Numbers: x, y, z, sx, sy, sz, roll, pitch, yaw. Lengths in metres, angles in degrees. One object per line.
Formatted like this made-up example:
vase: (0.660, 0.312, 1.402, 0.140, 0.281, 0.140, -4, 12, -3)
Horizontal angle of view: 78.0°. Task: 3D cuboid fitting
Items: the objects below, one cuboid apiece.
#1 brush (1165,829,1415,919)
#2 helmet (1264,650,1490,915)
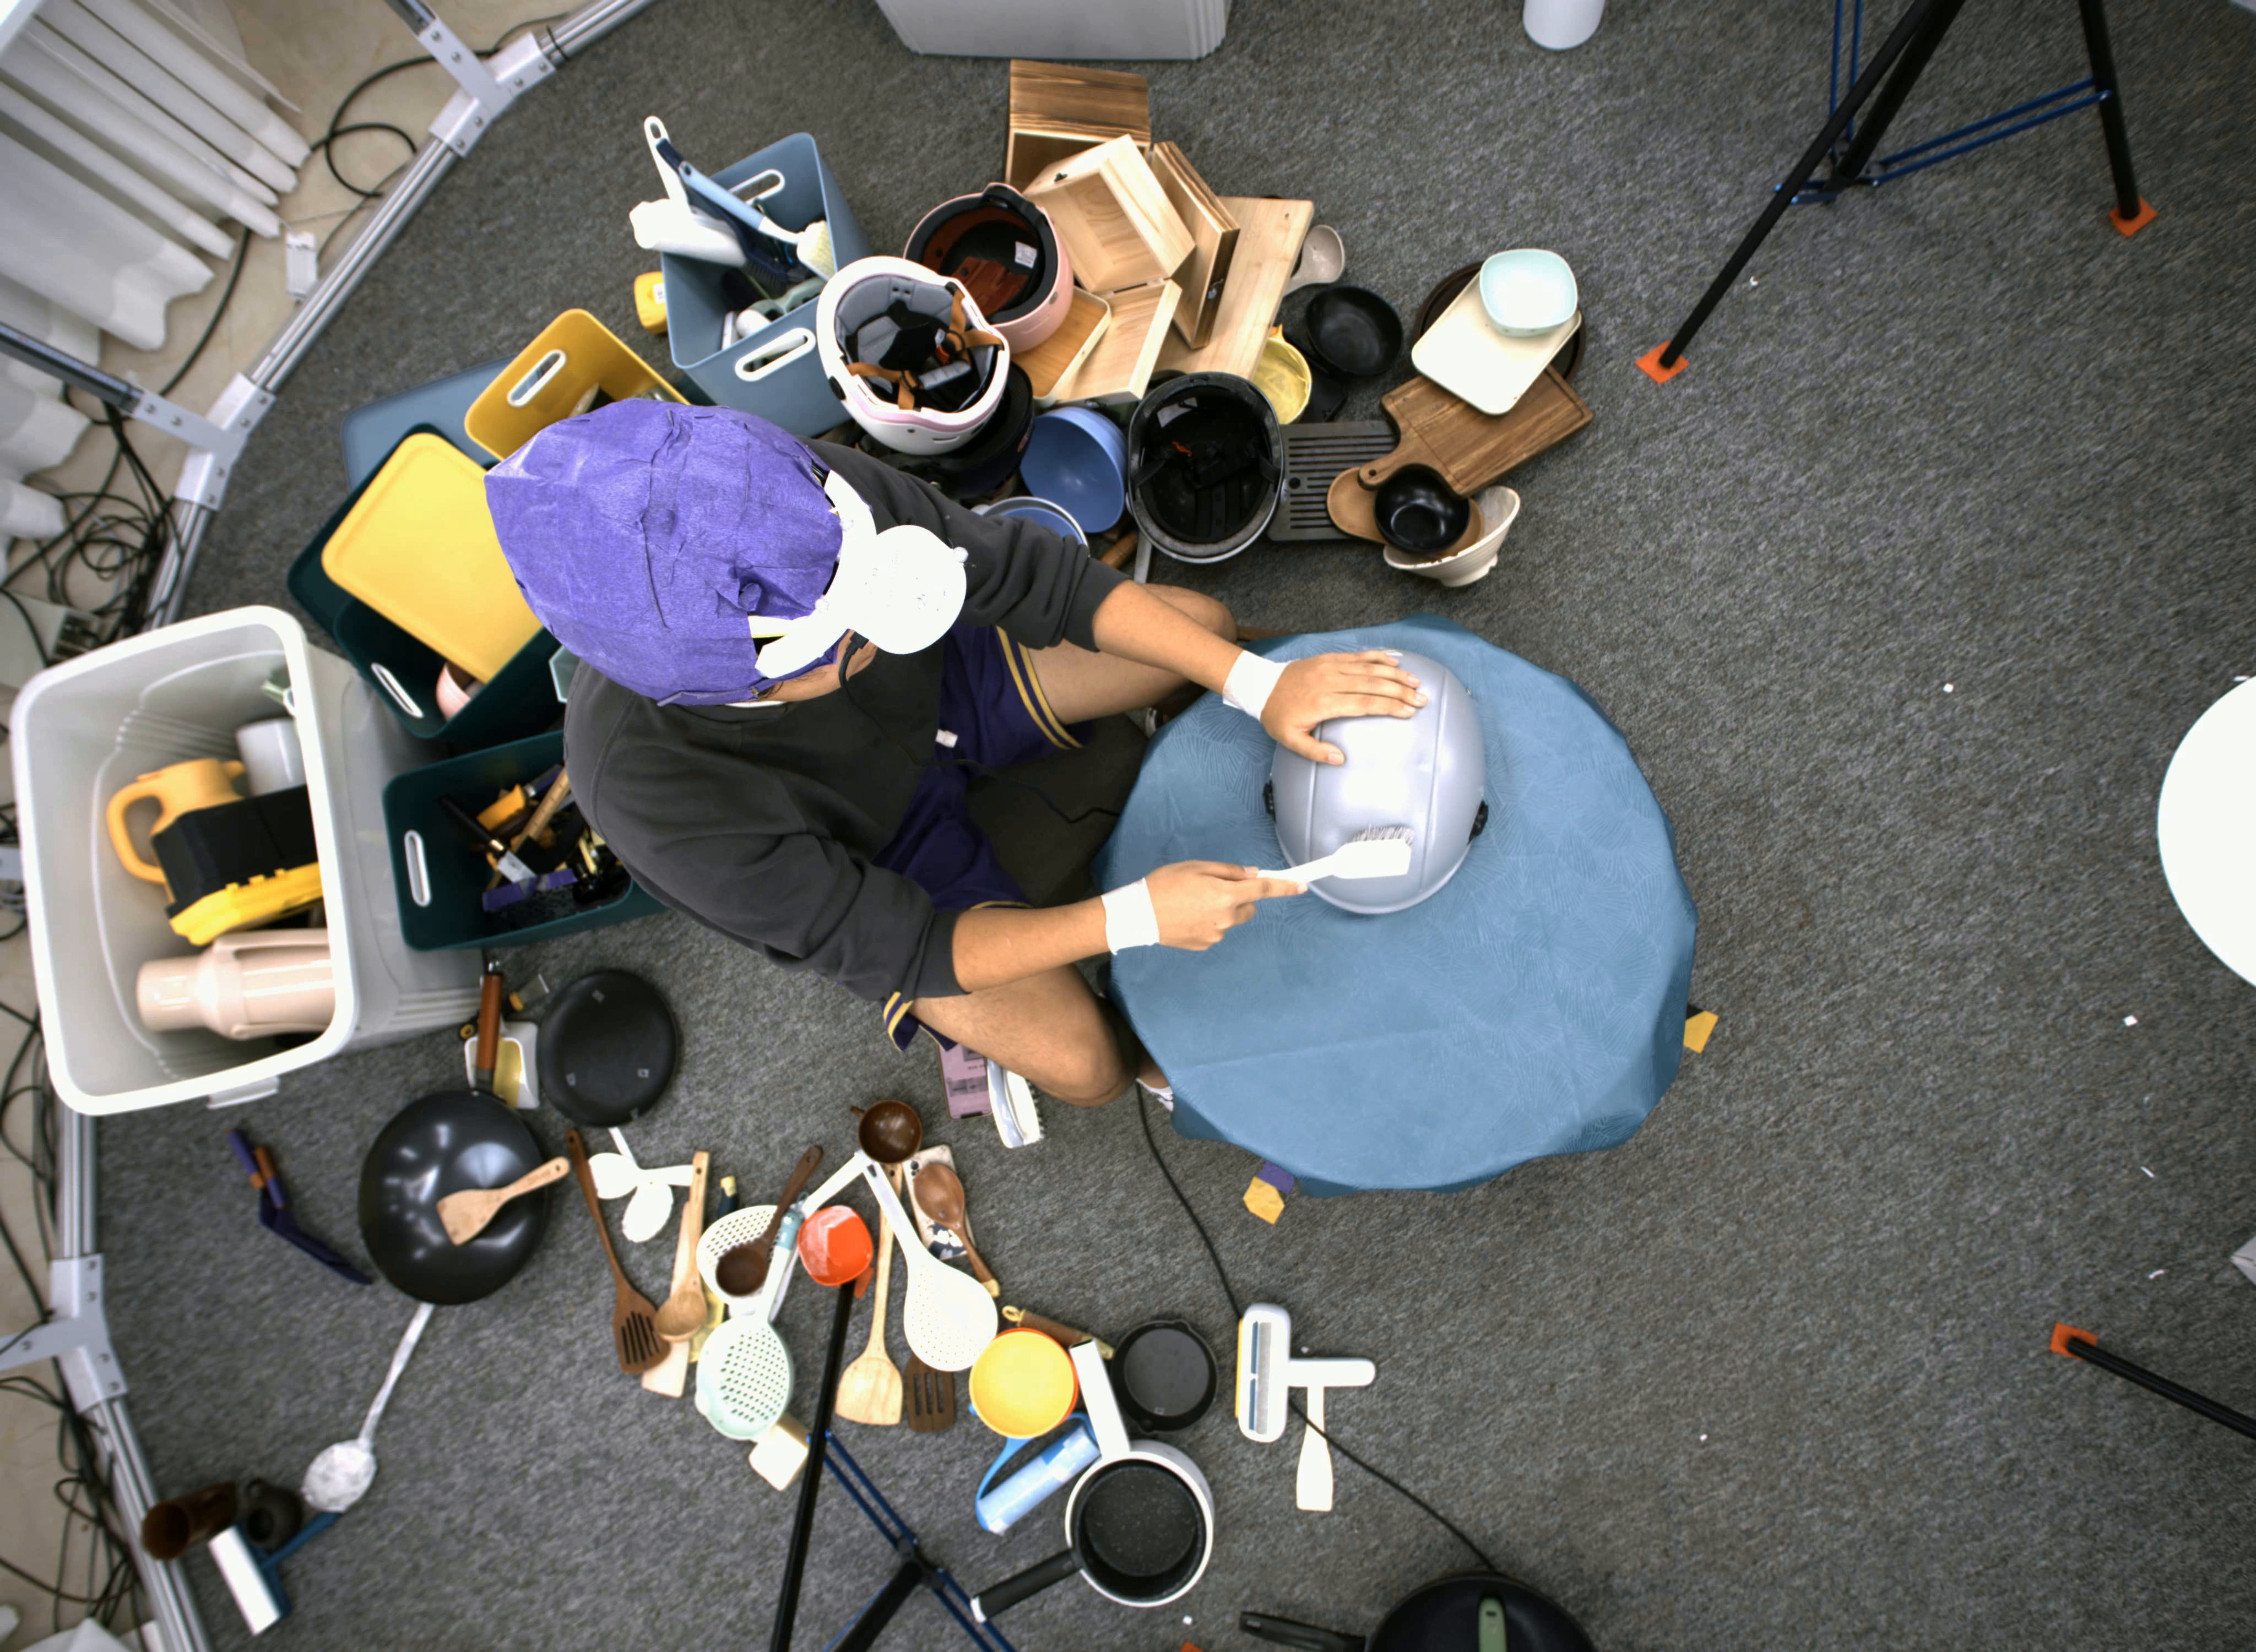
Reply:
brush: (0.155, 0.044, 1.326, 0.245, 0.049, 0.035, -13, 114, 8)
helmet: (0.251, -0.051, 1.389, 0.233, 0.168, 0.275, 6, 88, 12)
